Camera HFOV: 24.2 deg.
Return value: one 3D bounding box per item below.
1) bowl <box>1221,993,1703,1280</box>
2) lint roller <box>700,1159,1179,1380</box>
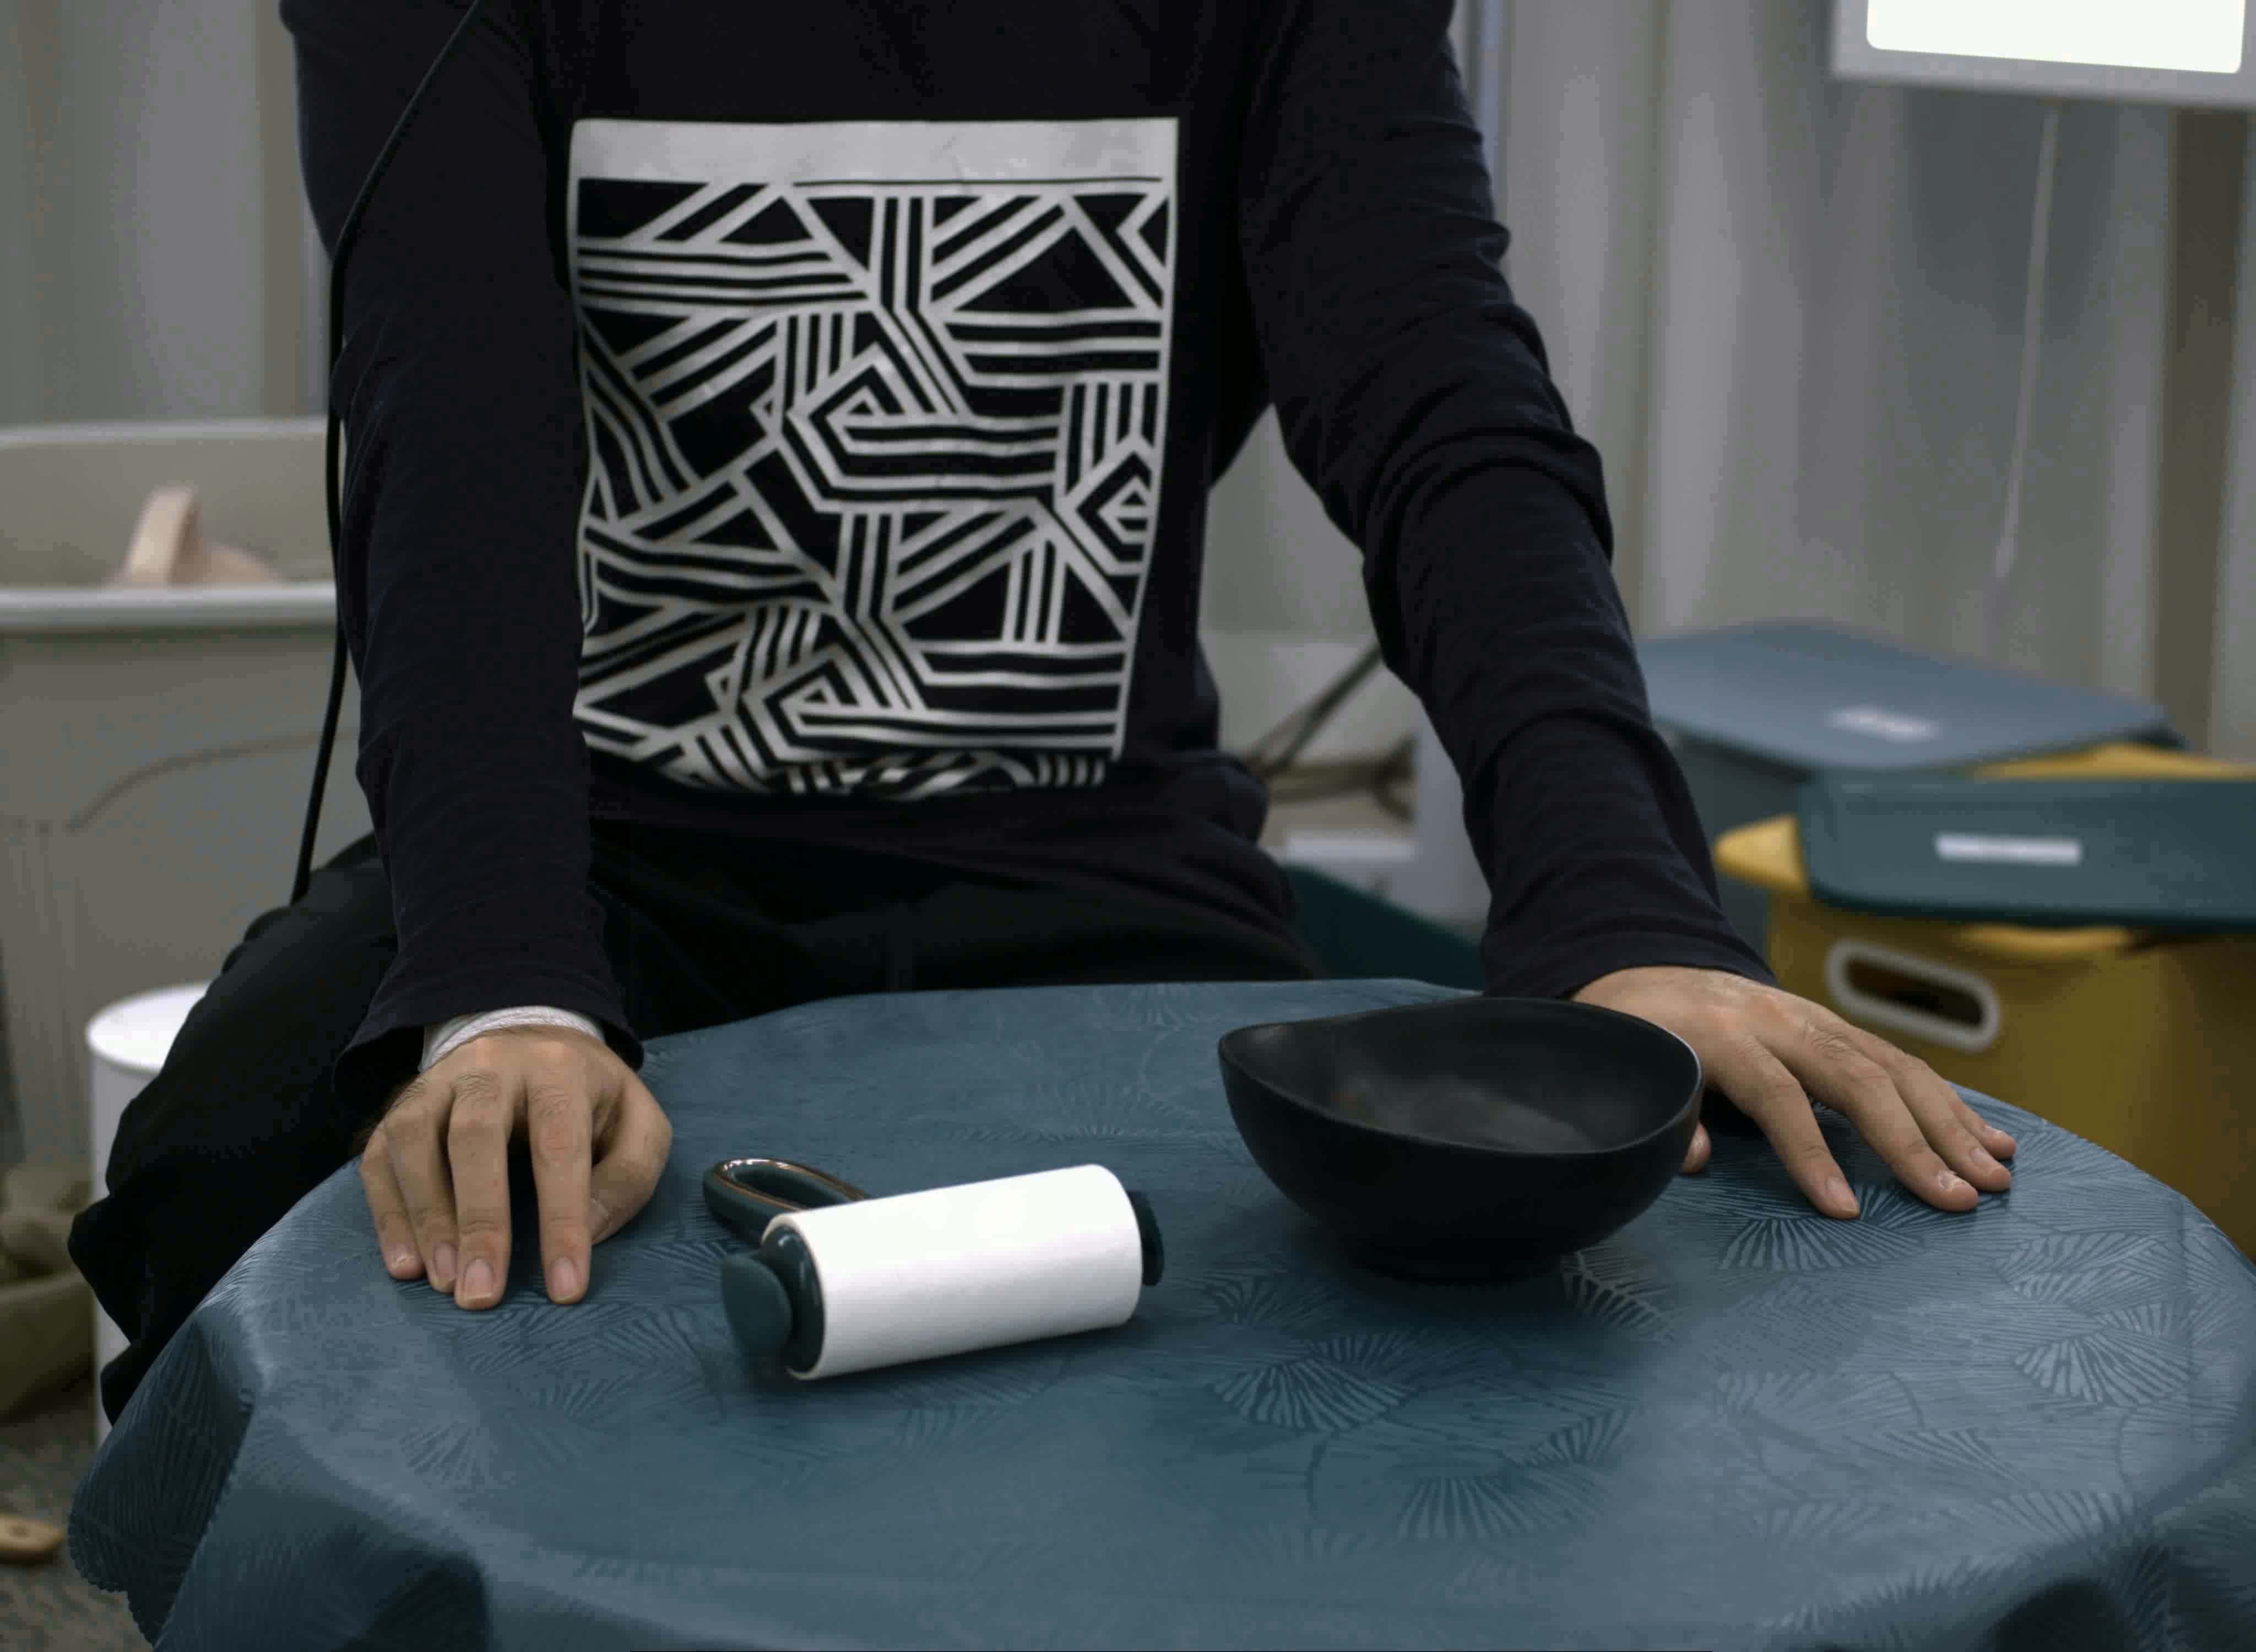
[{"bbox_3d":[0.097,0.095,1.567,0.138,0.067,0.168,-7,15,-24],"label":"bowl"},{"bbox_3d":[-0.082,0.115,1.543,0.135,0.048,0.178,-9,12,-27],"label":"lint roller"}]
